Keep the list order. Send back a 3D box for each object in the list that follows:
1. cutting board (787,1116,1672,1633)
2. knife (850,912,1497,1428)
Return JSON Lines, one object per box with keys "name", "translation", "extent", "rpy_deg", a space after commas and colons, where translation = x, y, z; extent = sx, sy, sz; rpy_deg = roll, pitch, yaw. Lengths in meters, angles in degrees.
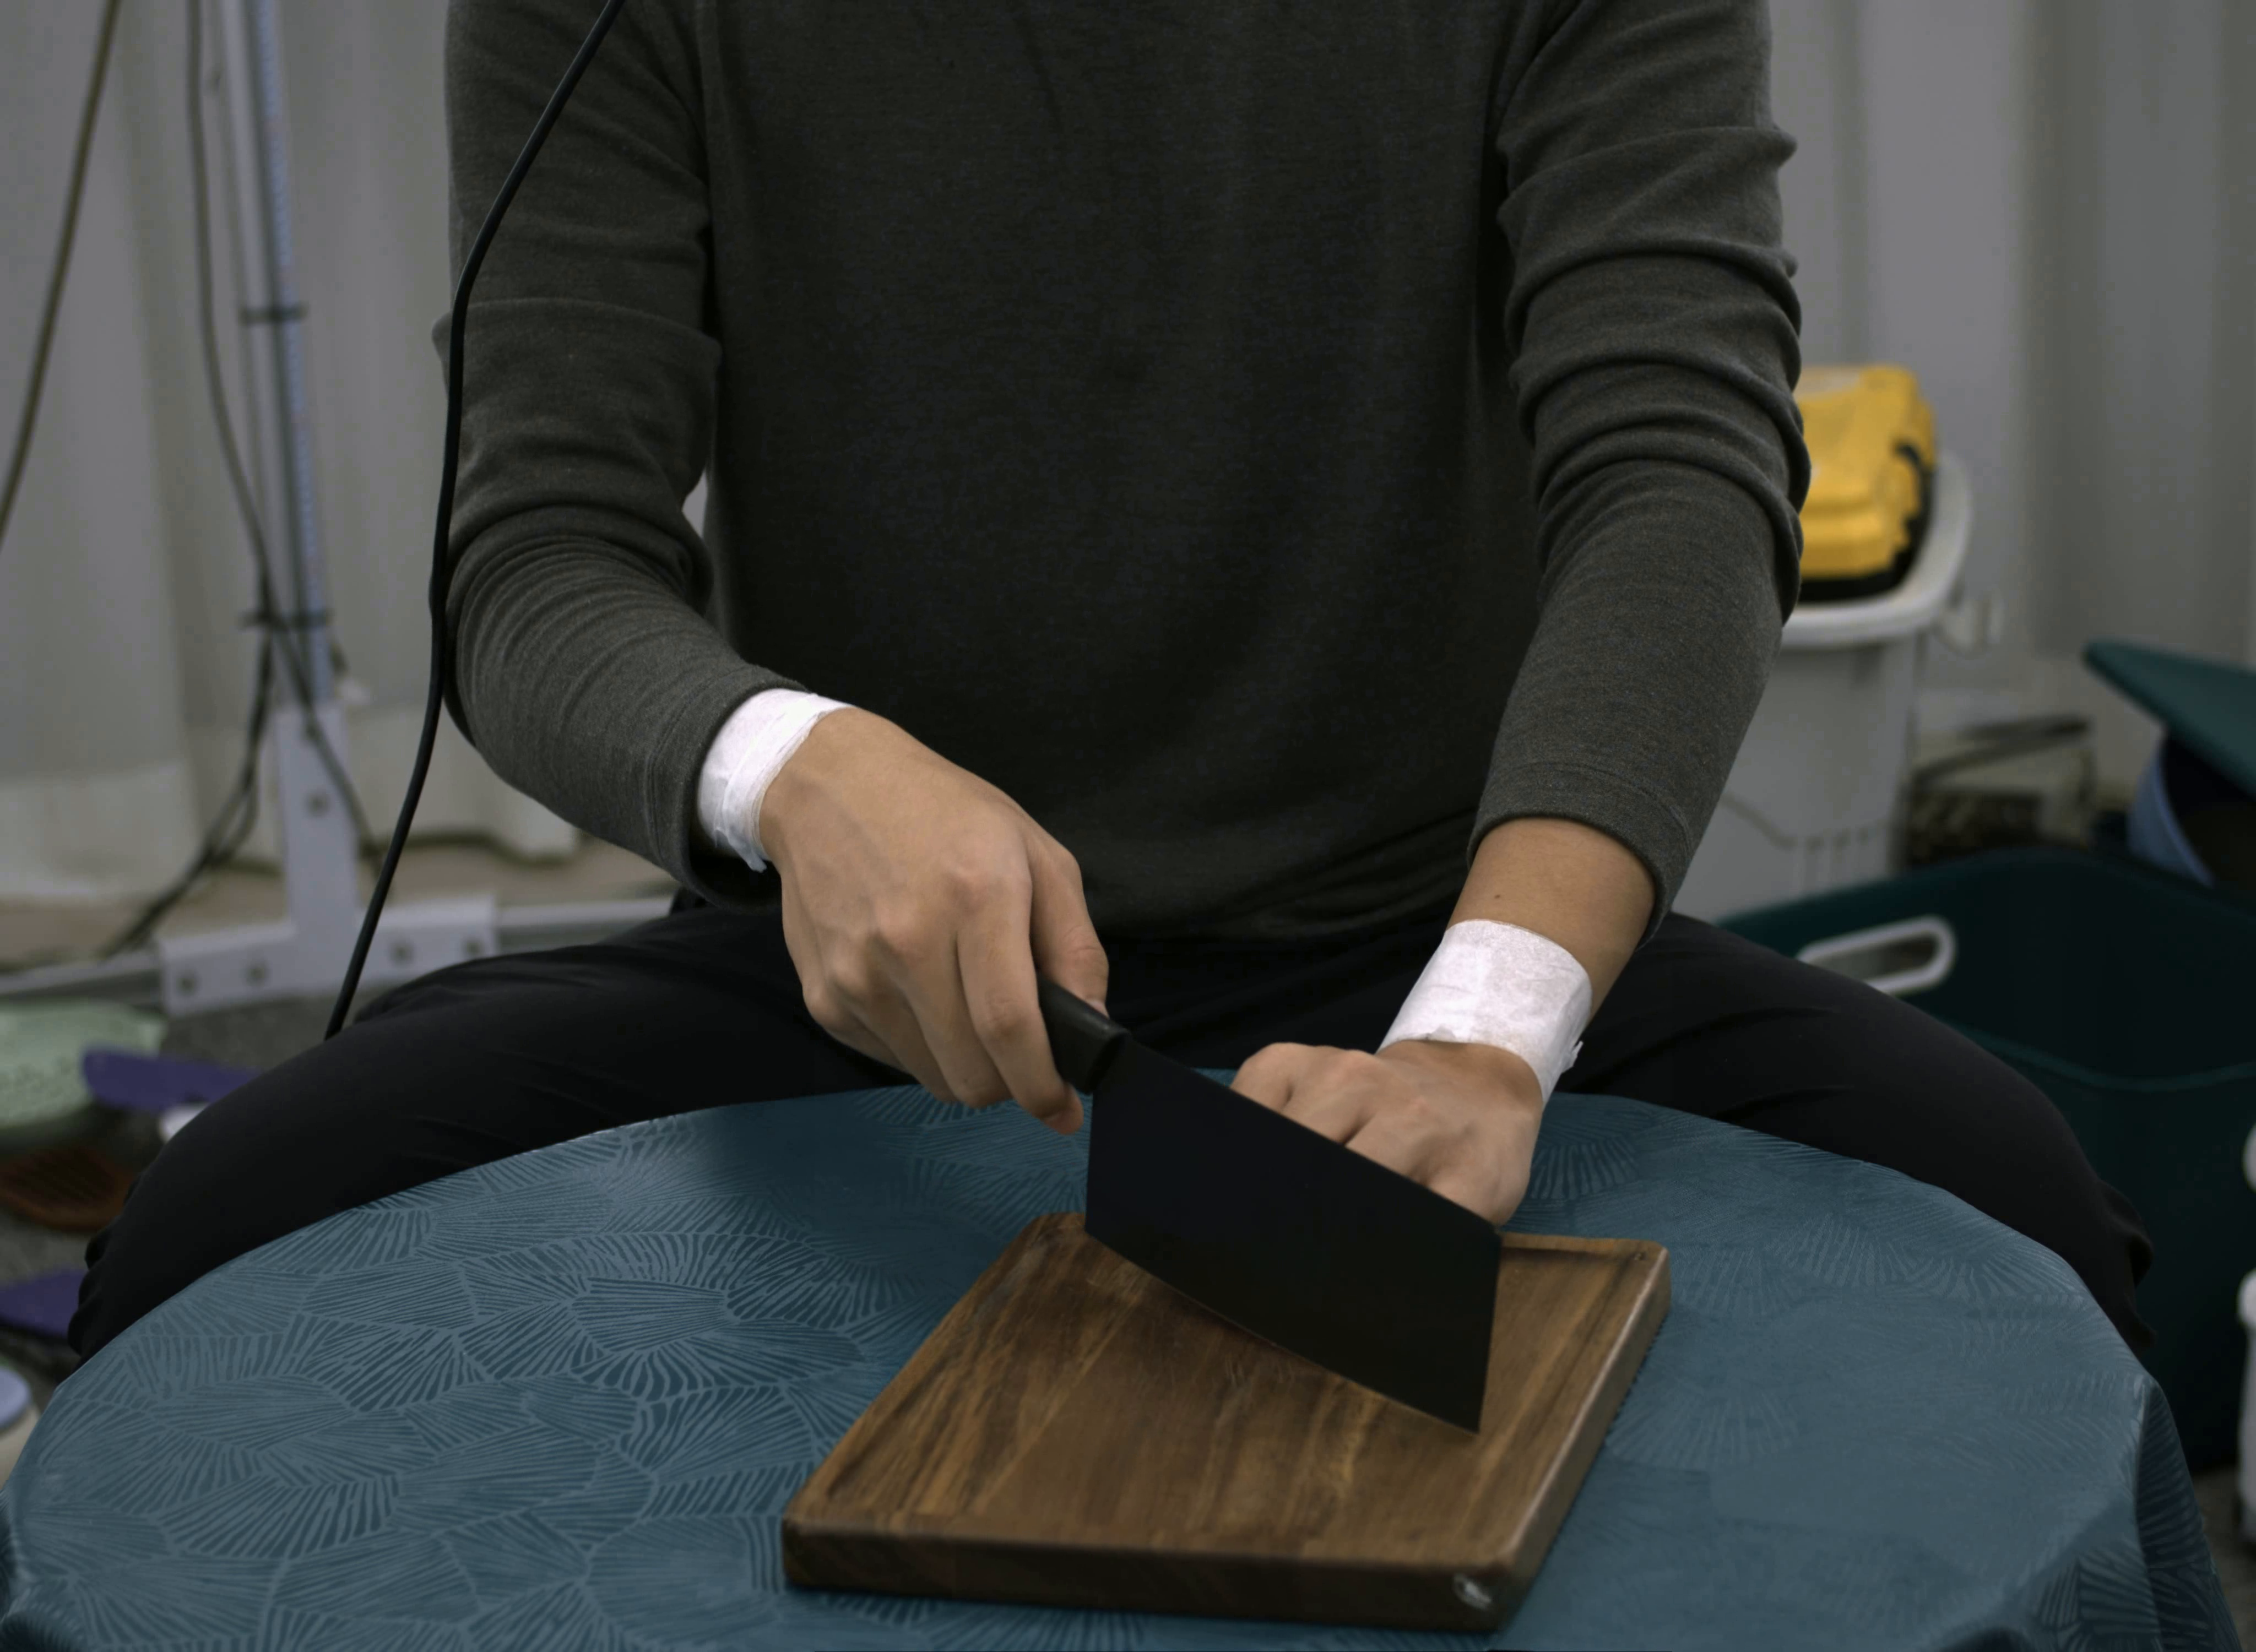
{"name": "cutting board", "translation": [0.047, 0.146, 1.549], "extent": [0.201, 0.023, 0.353], "rpy_deg": [2, 15, 15]}
{"name": "knife", "translation": [0.008, 0.091, 1.563], "extent": [0.021, 0.080, 0.305], "rpy_deg": [-5, 23, -36]}
